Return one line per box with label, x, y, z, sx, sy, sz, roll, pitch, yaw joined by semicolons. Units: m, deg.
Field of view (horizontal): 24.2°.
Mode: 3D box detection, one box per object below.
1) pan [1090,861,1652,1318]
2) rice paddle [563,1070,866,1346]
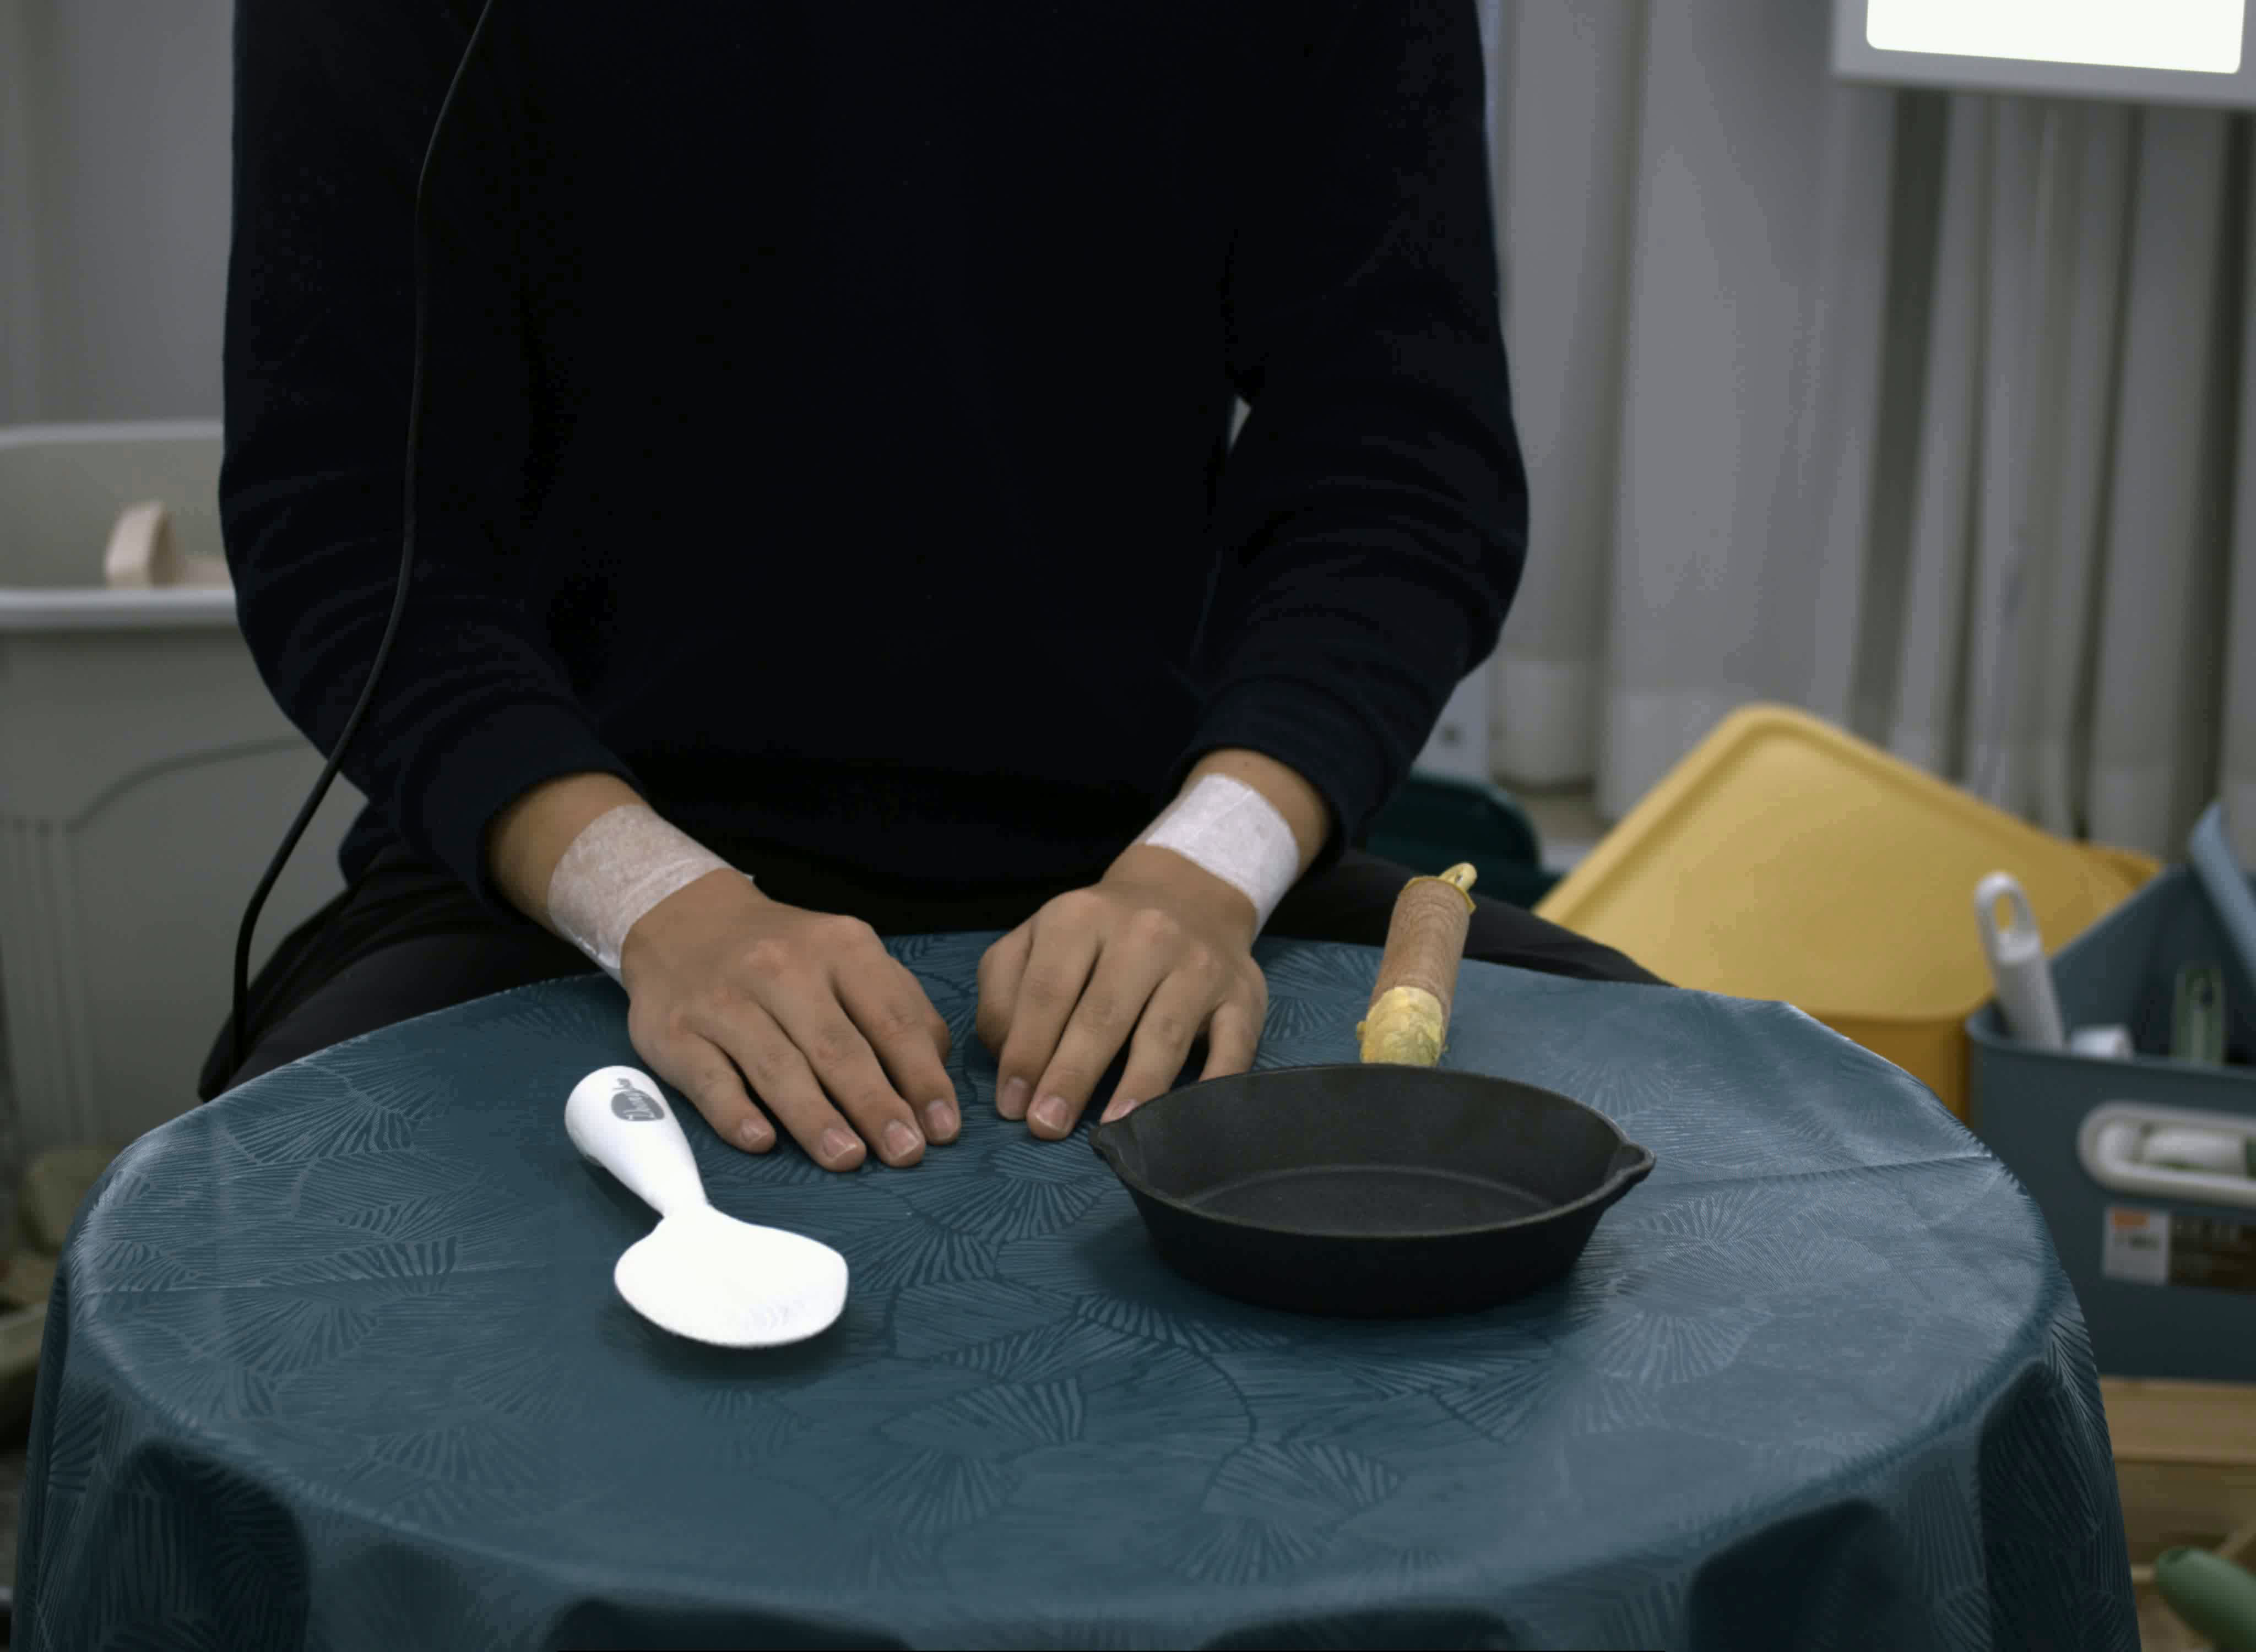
pan;0.086;0.079;1.650;0.168;0.050;0.323;3;17;9
rice paddle;-0.129;0.115;1.556;0.069;0.029;0.203;-6;16;-18
